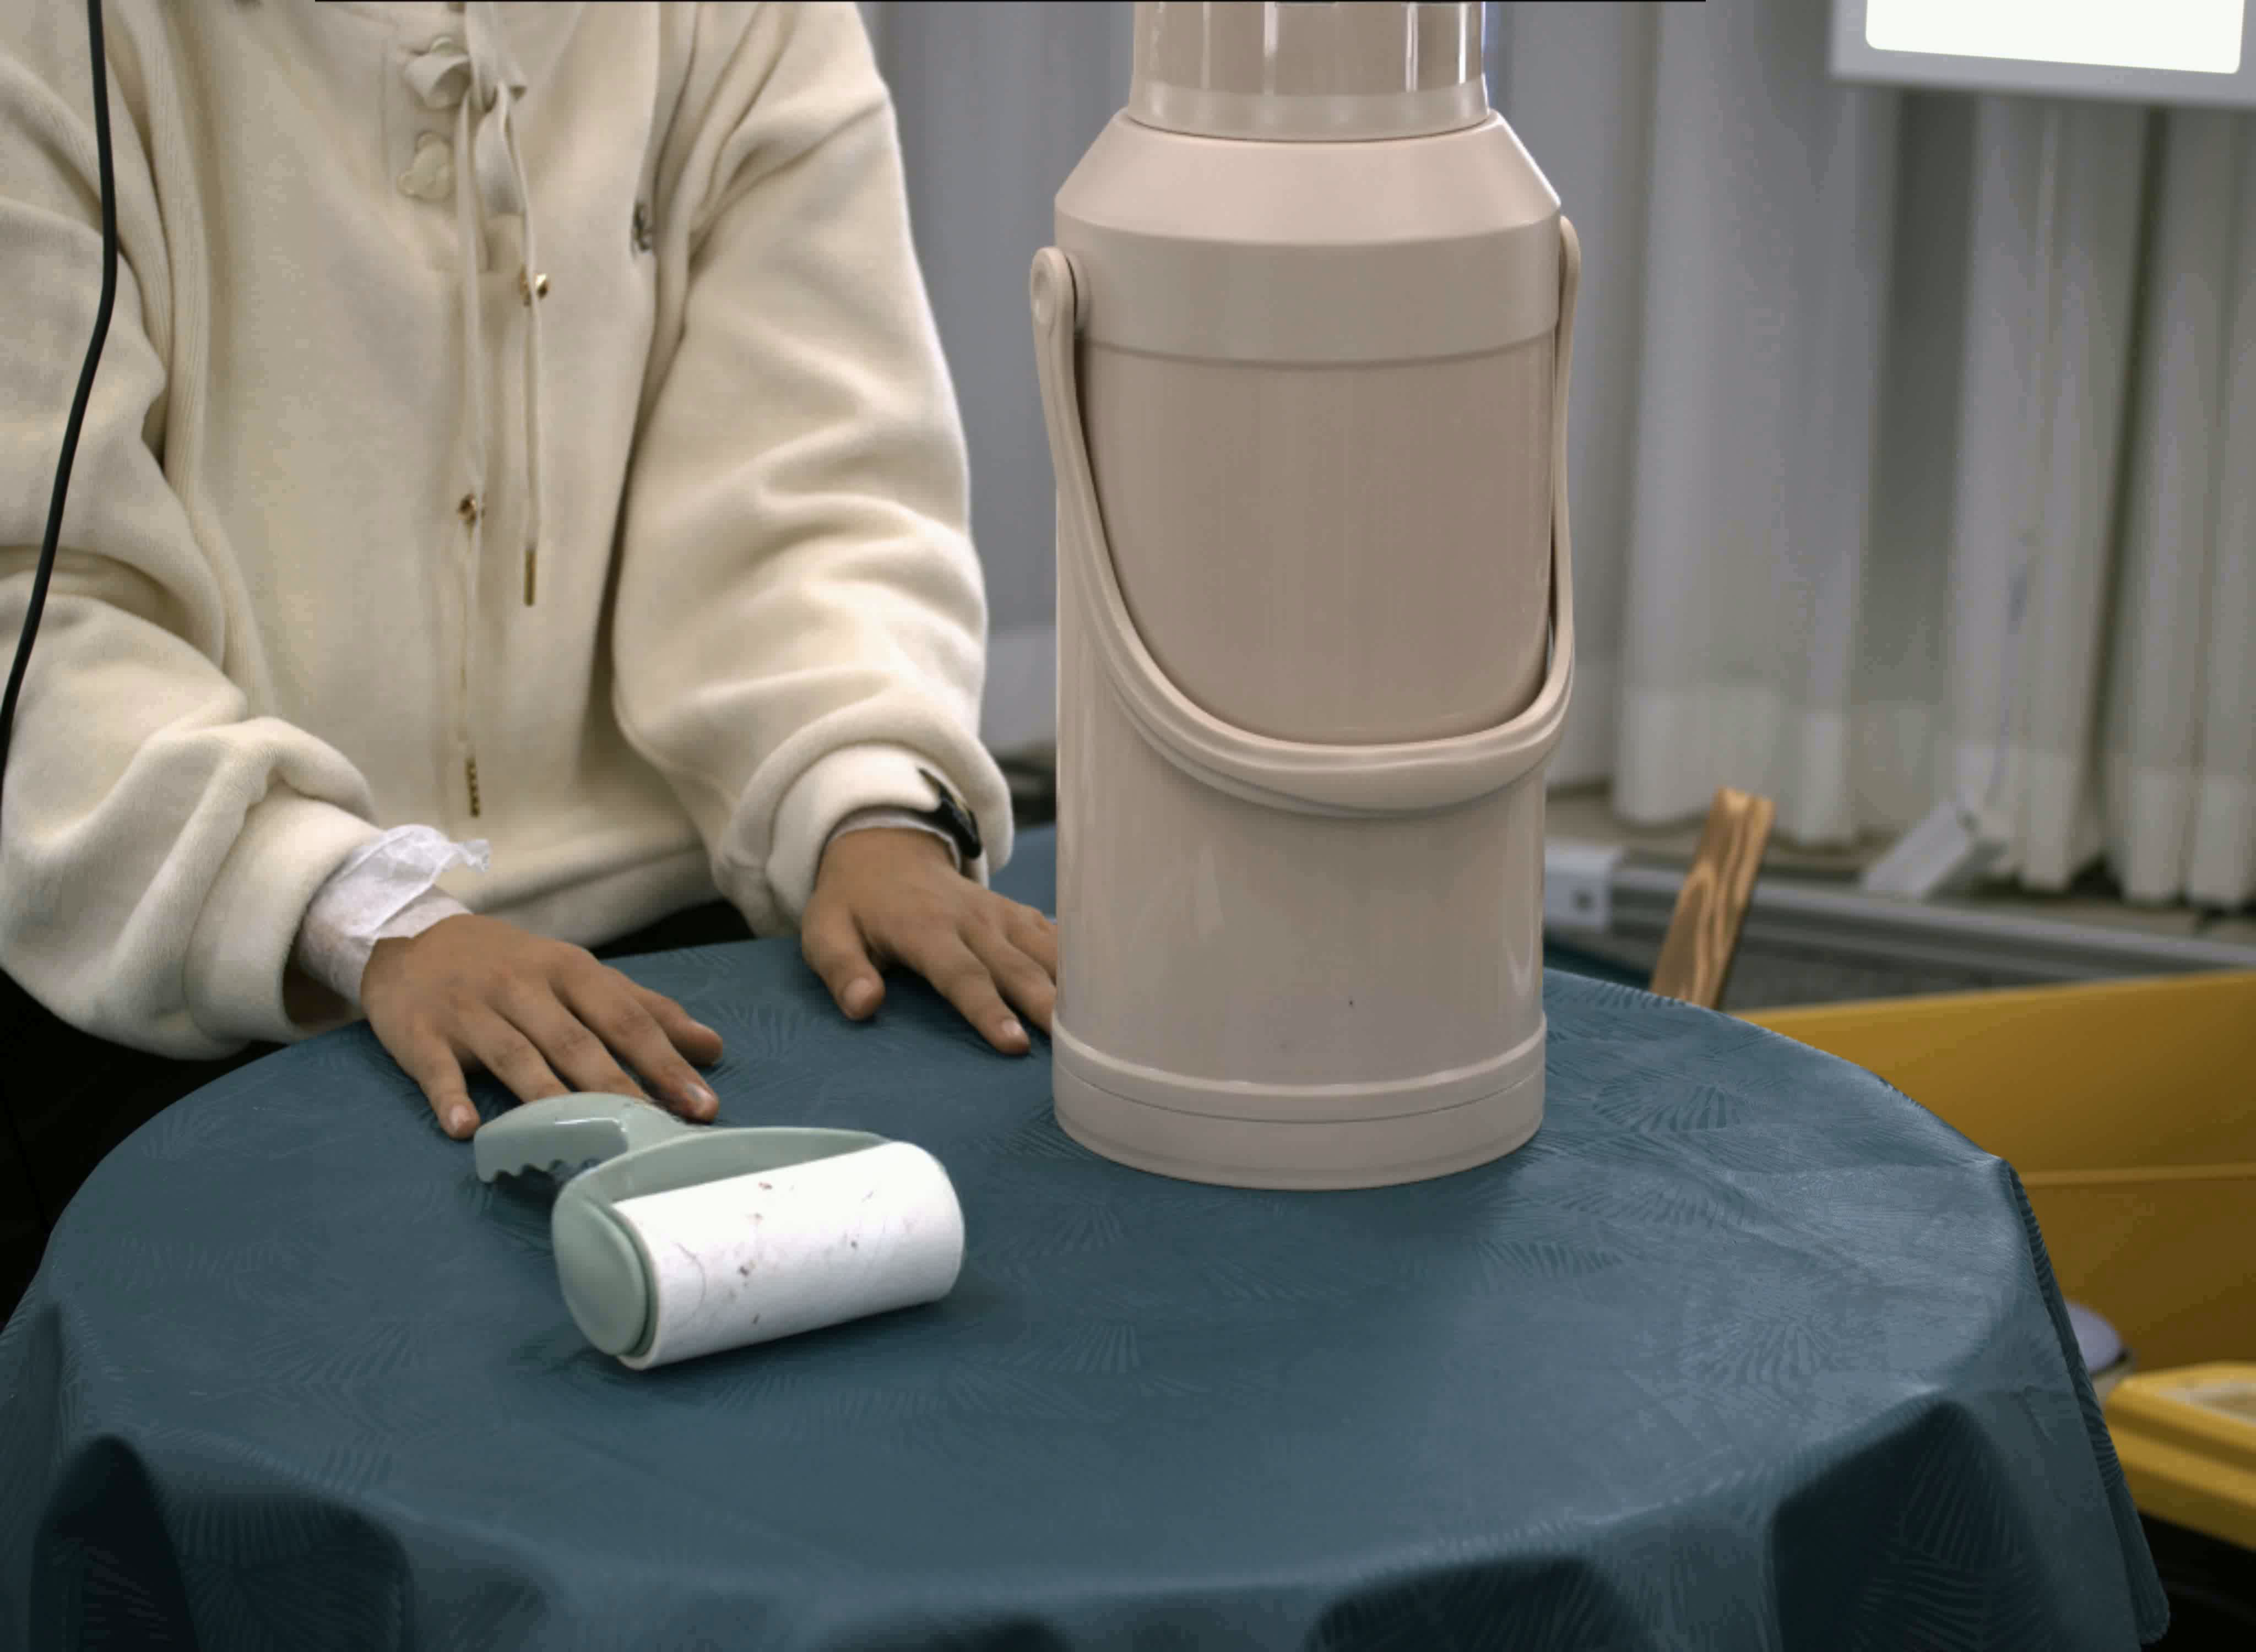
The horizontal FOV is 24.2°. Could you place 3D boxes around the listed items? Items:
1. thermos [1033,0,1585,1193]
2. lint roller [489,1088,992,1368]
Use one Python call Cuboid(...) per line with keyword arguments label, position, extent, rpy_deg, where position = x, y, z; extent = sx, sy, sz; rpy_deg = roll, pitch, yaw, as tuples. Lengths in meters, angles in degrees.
Cuboid(label="thermos", position=(0.052, -0.102, 1.653), extent=(0.176, 0.410, 0.204), rpy_deg=(-7, 17, -21))
Cuboid(label="lint roller", position=(-0.135, 0.104, 1.558), extent=(0.117, 0.049, 0.195), rpy_deg=(-12, 21, -32))
